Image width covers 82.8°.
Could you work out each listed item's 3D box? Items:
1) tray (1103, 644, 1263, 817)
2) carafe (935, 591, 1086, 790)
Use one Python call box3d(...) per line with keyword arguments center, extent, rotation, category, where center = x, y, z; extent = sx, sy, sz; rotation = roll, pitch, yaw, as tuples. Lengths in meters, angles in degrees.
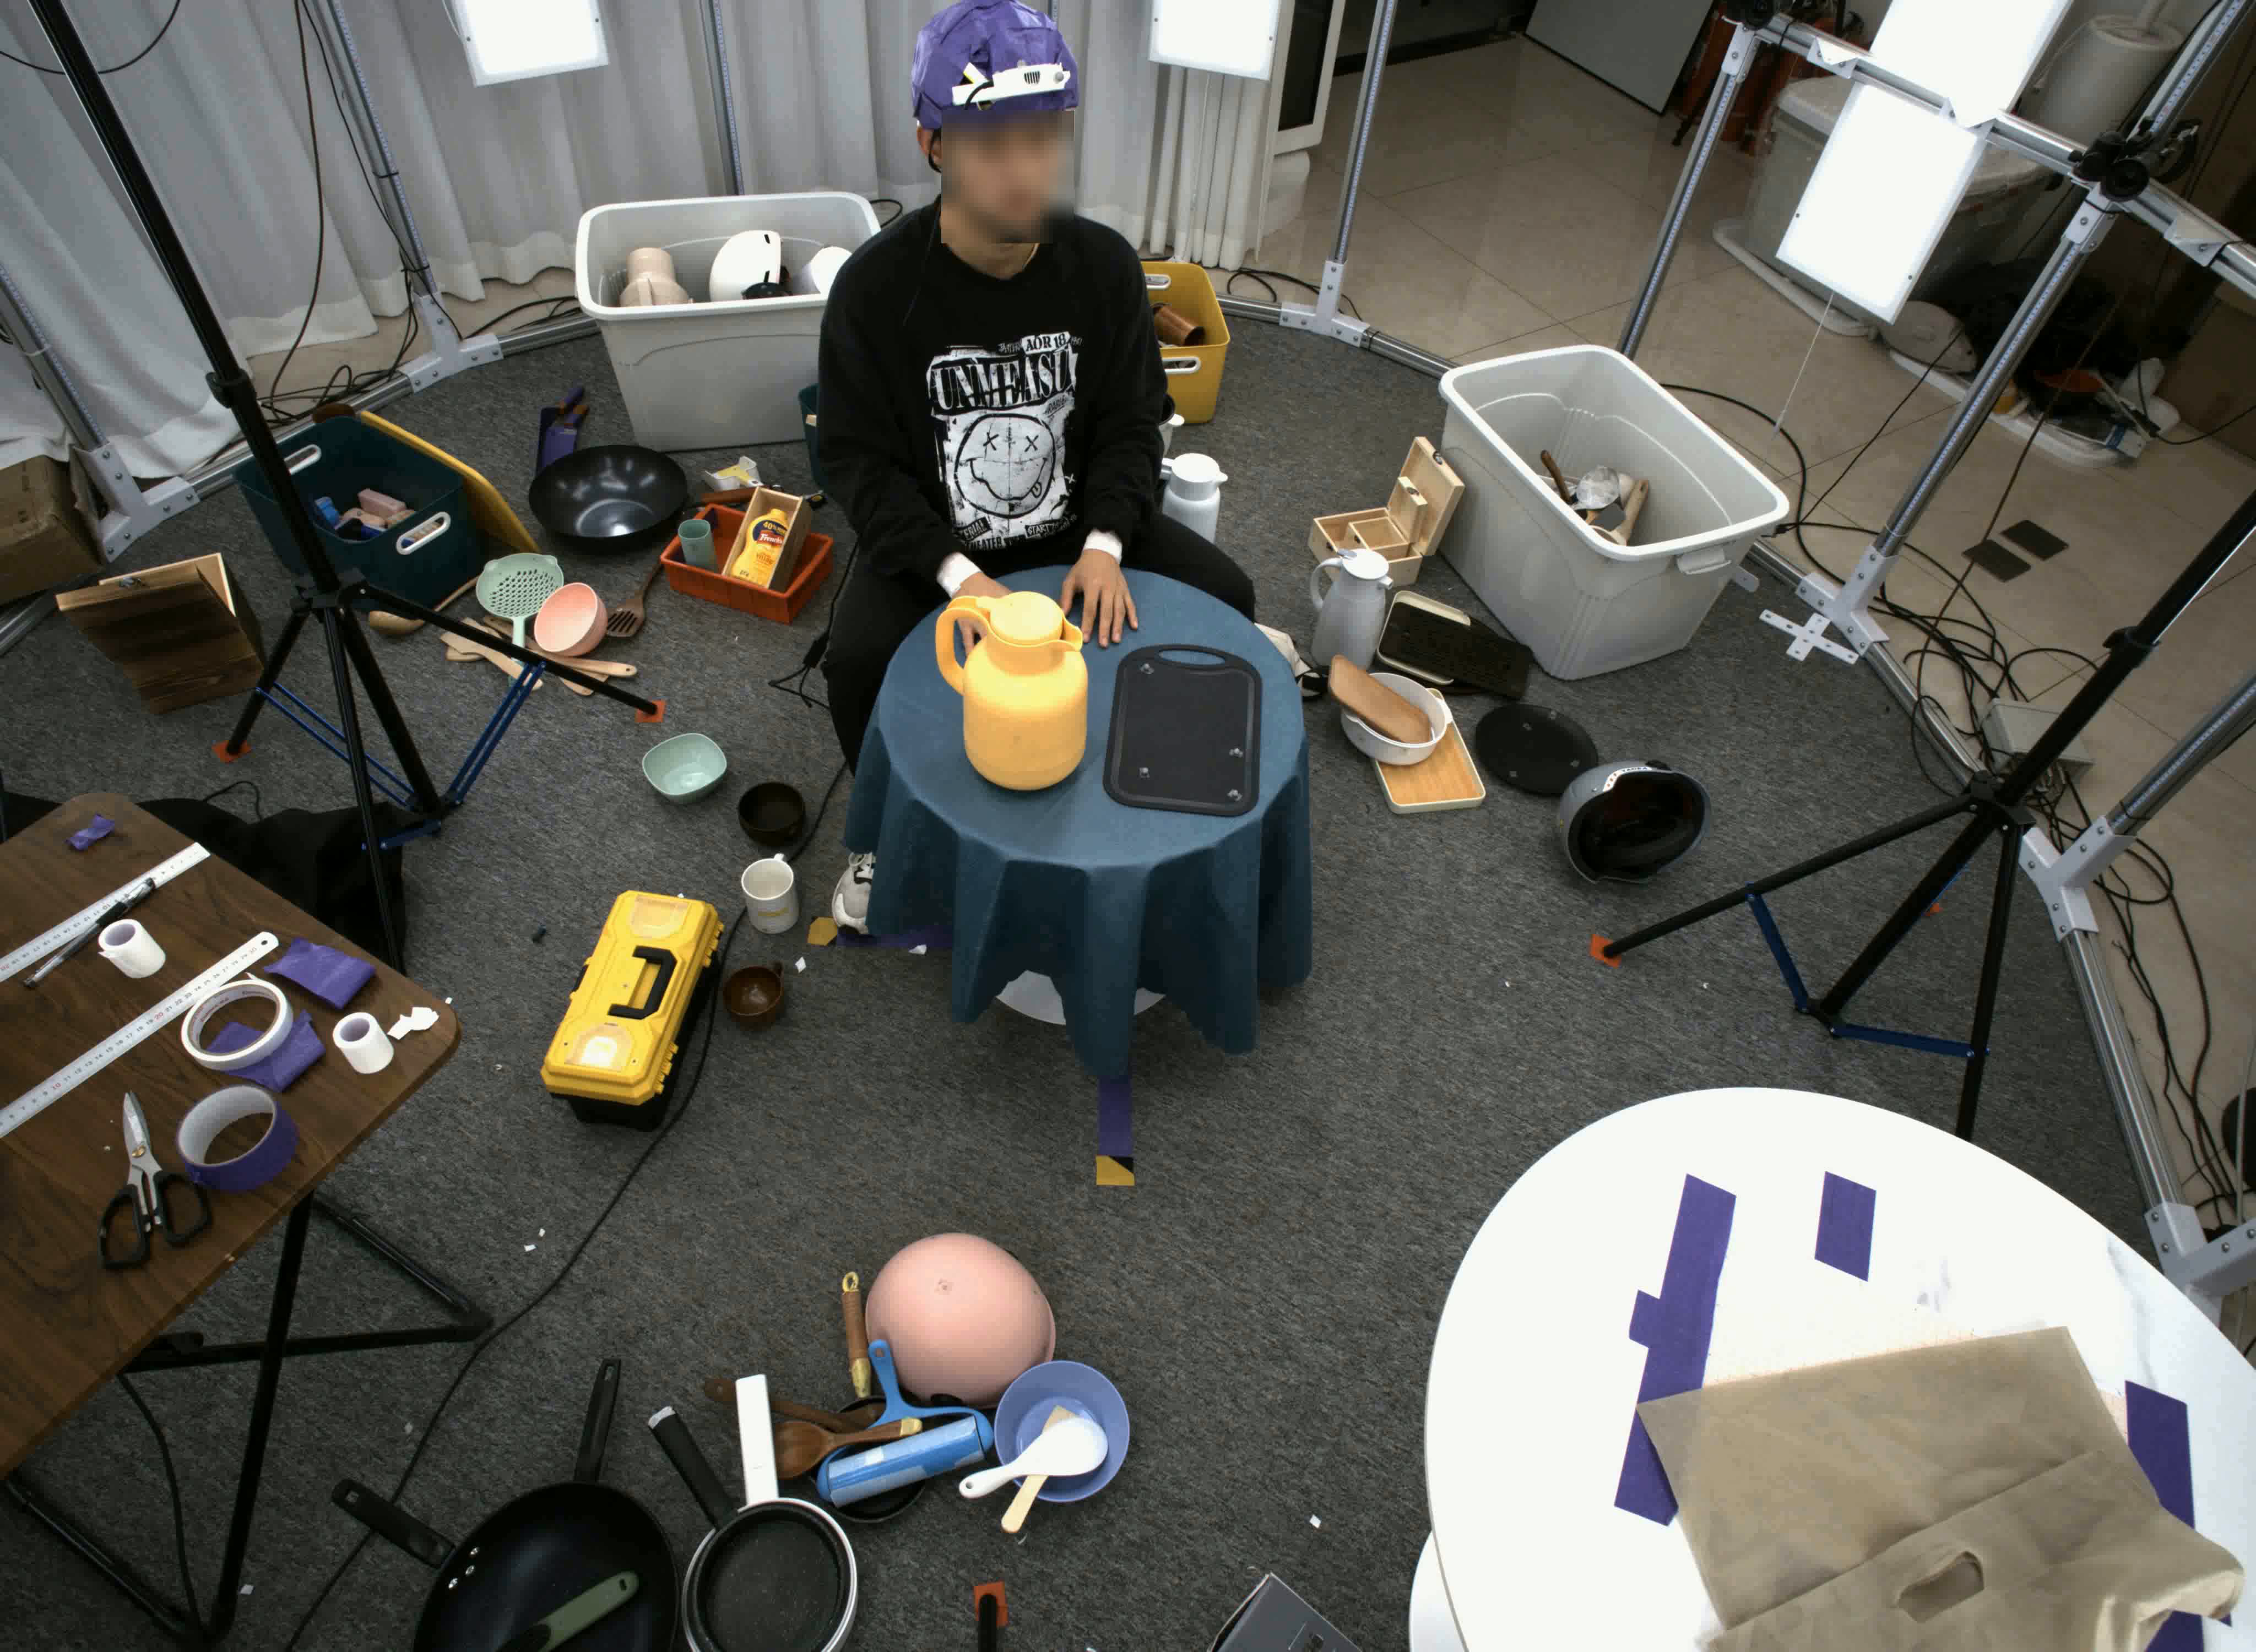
box3d(center=(0.081, -0.145, 1.795), extent=(0.211, 0.009, 0.333), rotation=(6, 49, 2), category="tray")
box3d(center=(-0.151, -0.187, 1.652), extent=(0.203, 0.254, 0.166), rotation=(23, 49, 13), category="carafe")
